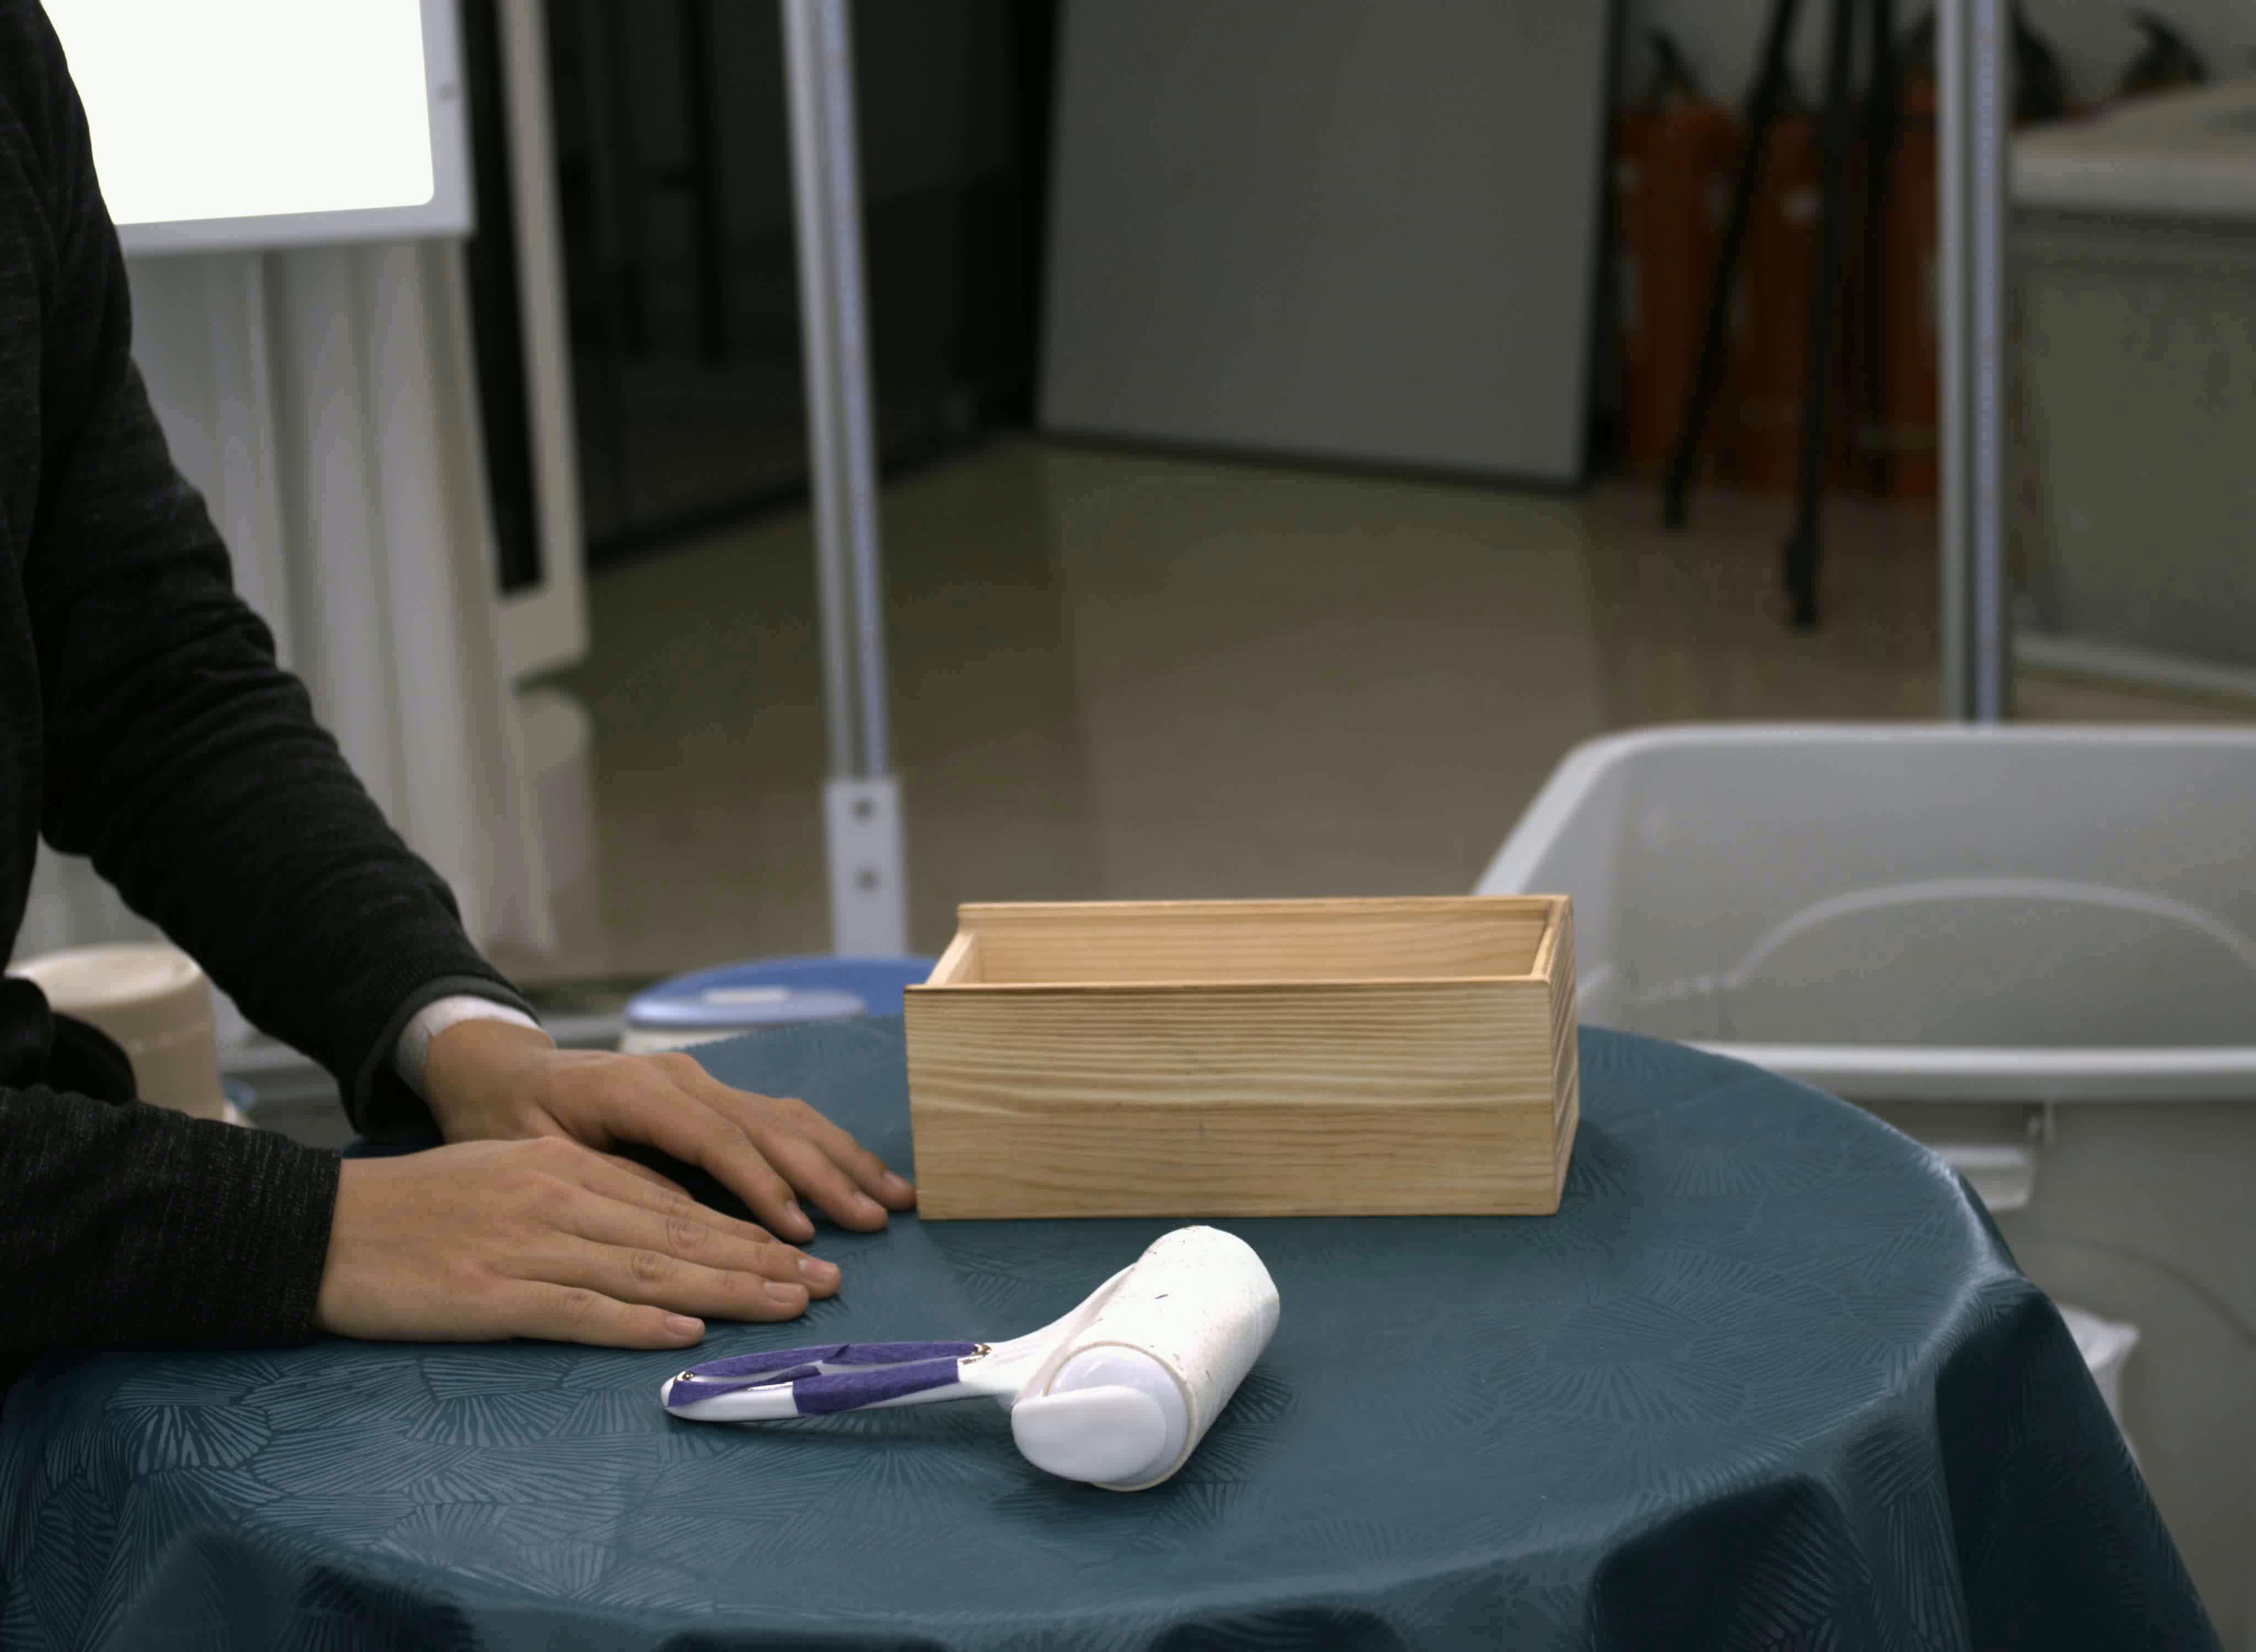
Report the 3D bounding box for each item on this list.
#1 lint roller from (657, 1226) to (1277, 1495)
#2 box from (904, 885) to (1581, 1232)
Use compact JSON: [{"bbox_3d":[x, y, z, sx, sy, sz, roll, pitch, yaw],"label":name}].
[{"bbox_3d":[-0.052,0.150,1.566,0.180,0.051,0.132,2,16,18],"label":"lint roller"},{"bbox_3d":[0.041,0.076,1.774,0.210,0.081,0.107,-3,14,10],"label":"box"}]
